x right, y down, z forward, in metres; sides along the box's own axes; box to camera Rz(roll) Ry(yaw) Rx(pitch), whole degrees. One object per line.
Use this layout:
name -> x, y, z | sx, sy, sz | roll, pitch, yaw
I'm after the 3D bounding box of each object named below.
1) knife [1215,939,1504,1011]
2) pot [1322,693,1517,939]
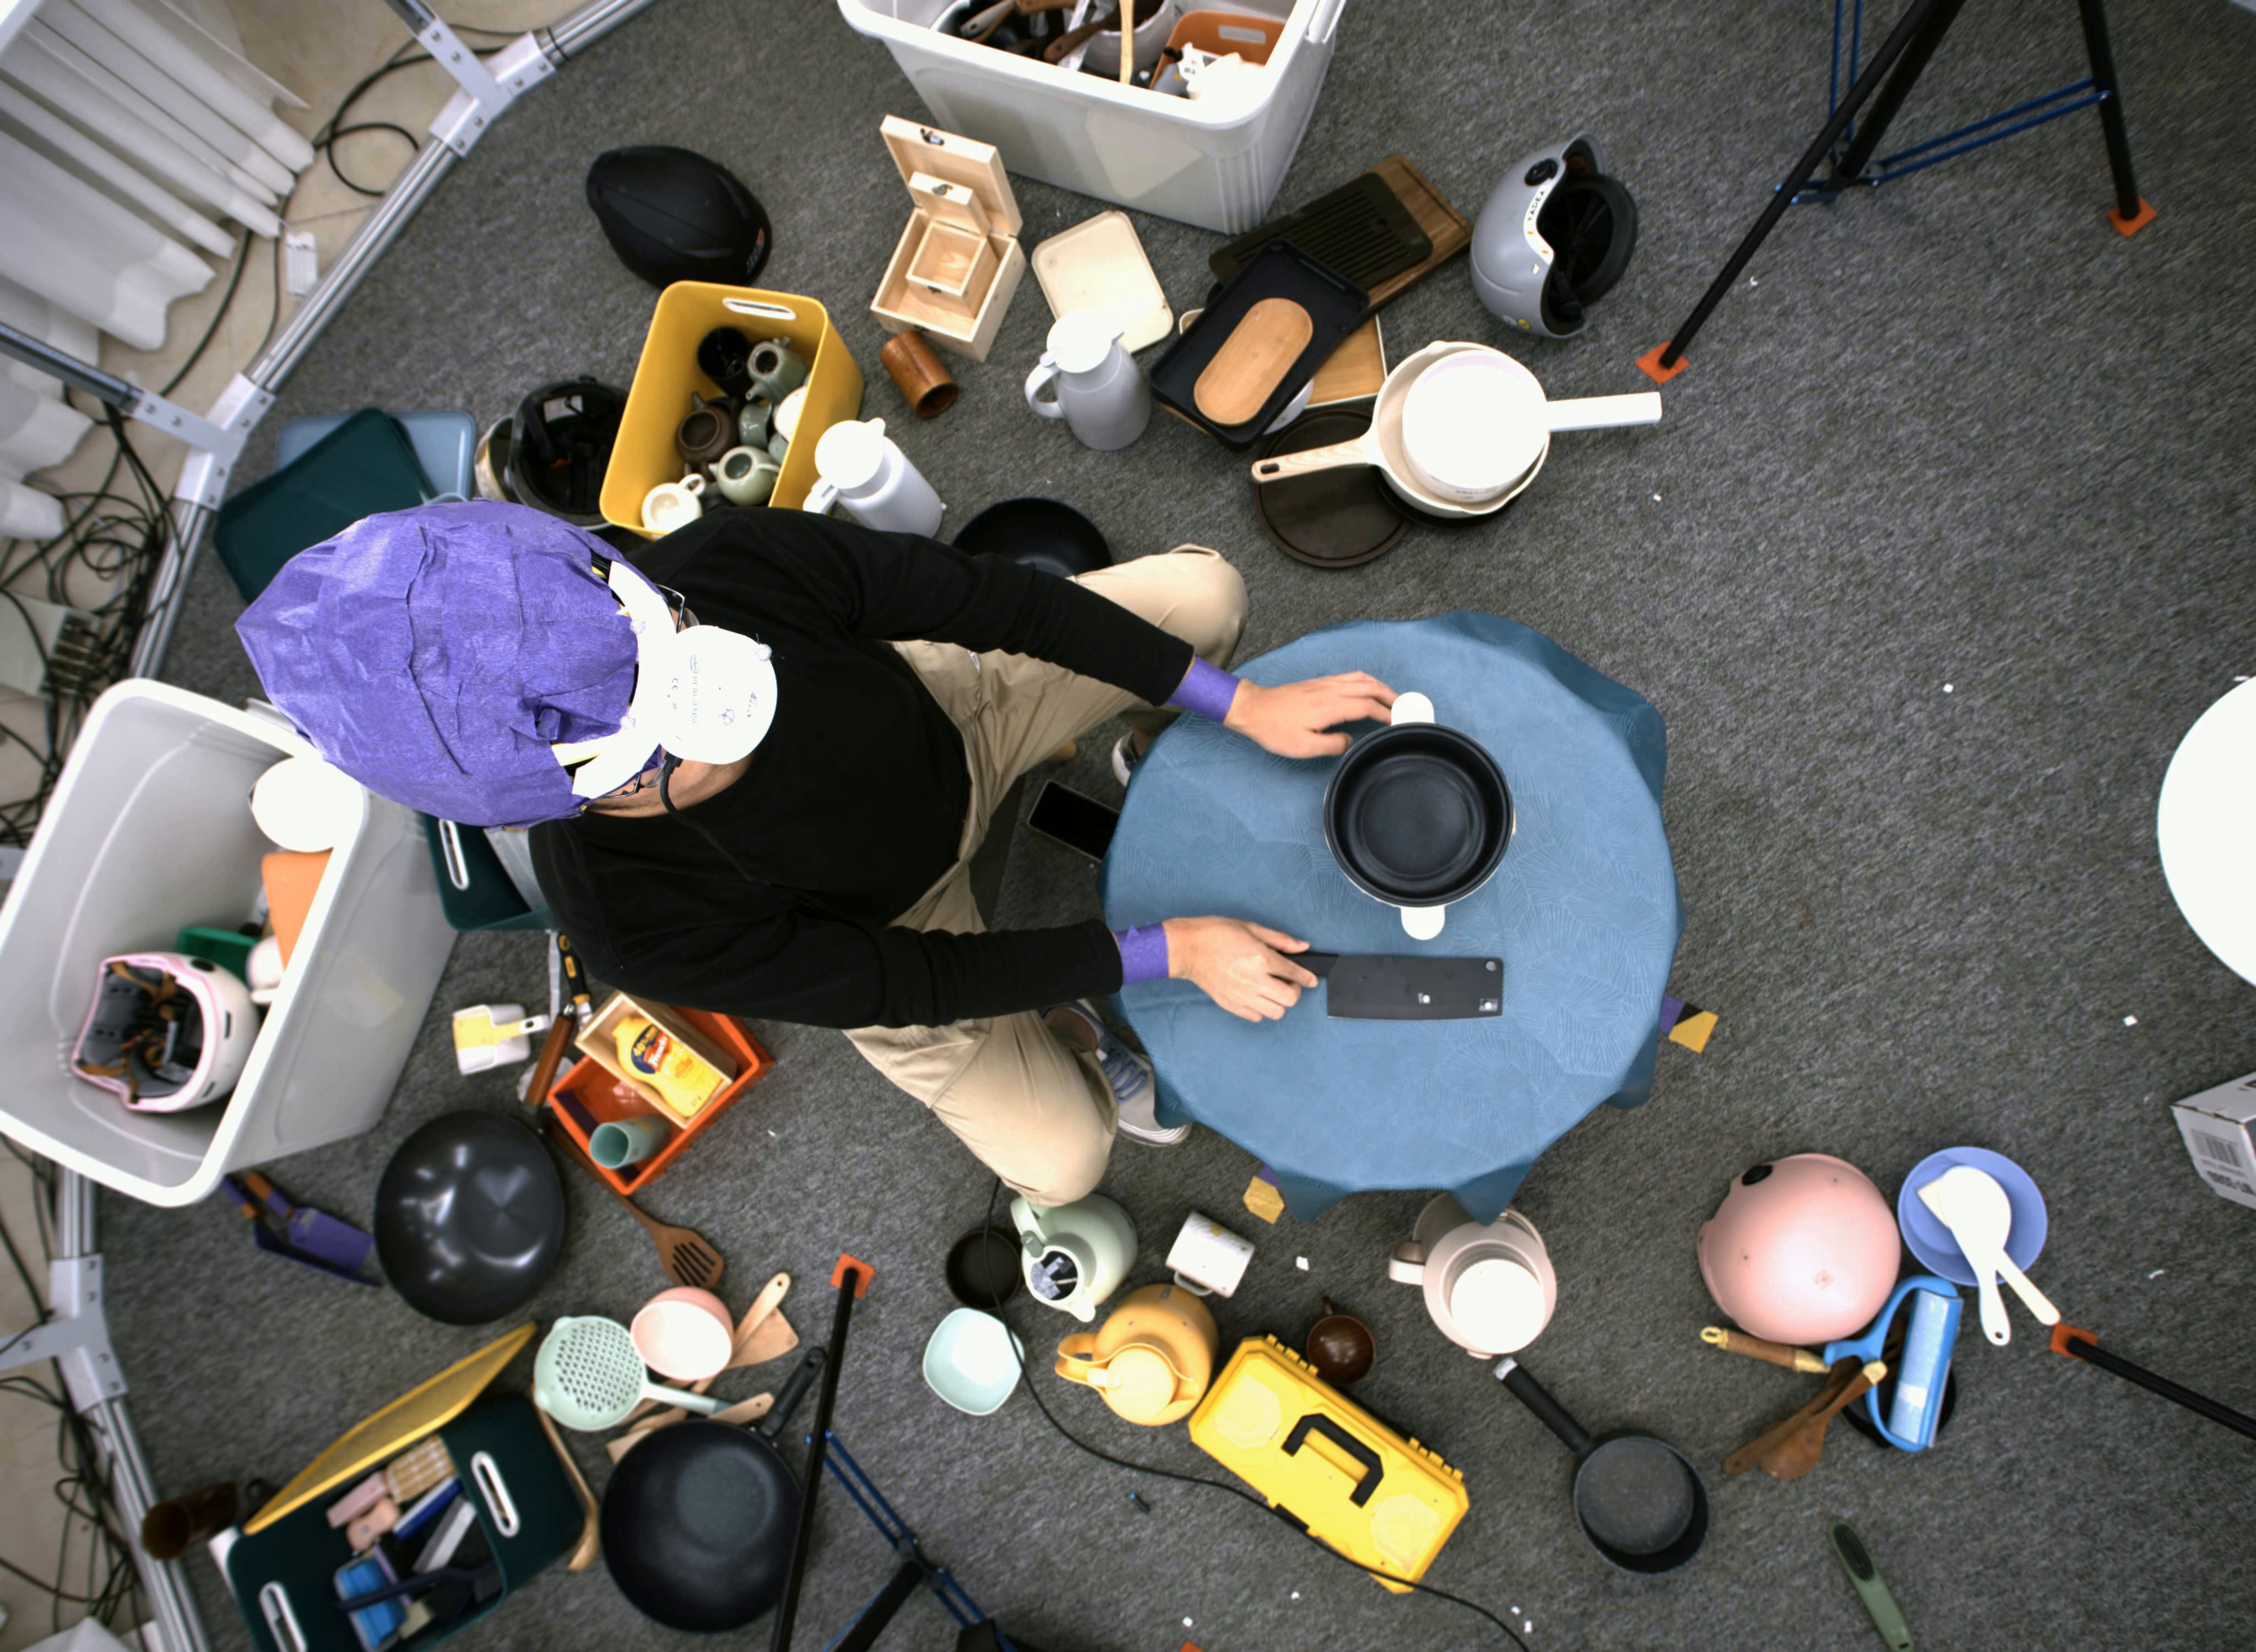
knife -> 0.243, 0.154, 1.455 | 0.303, 0.021, 0.081 | 4, 93, 8
pot -> 0.296, -0.008, 1.390 | 0.191, 0.142, 0.239 | -4, 87, 14
